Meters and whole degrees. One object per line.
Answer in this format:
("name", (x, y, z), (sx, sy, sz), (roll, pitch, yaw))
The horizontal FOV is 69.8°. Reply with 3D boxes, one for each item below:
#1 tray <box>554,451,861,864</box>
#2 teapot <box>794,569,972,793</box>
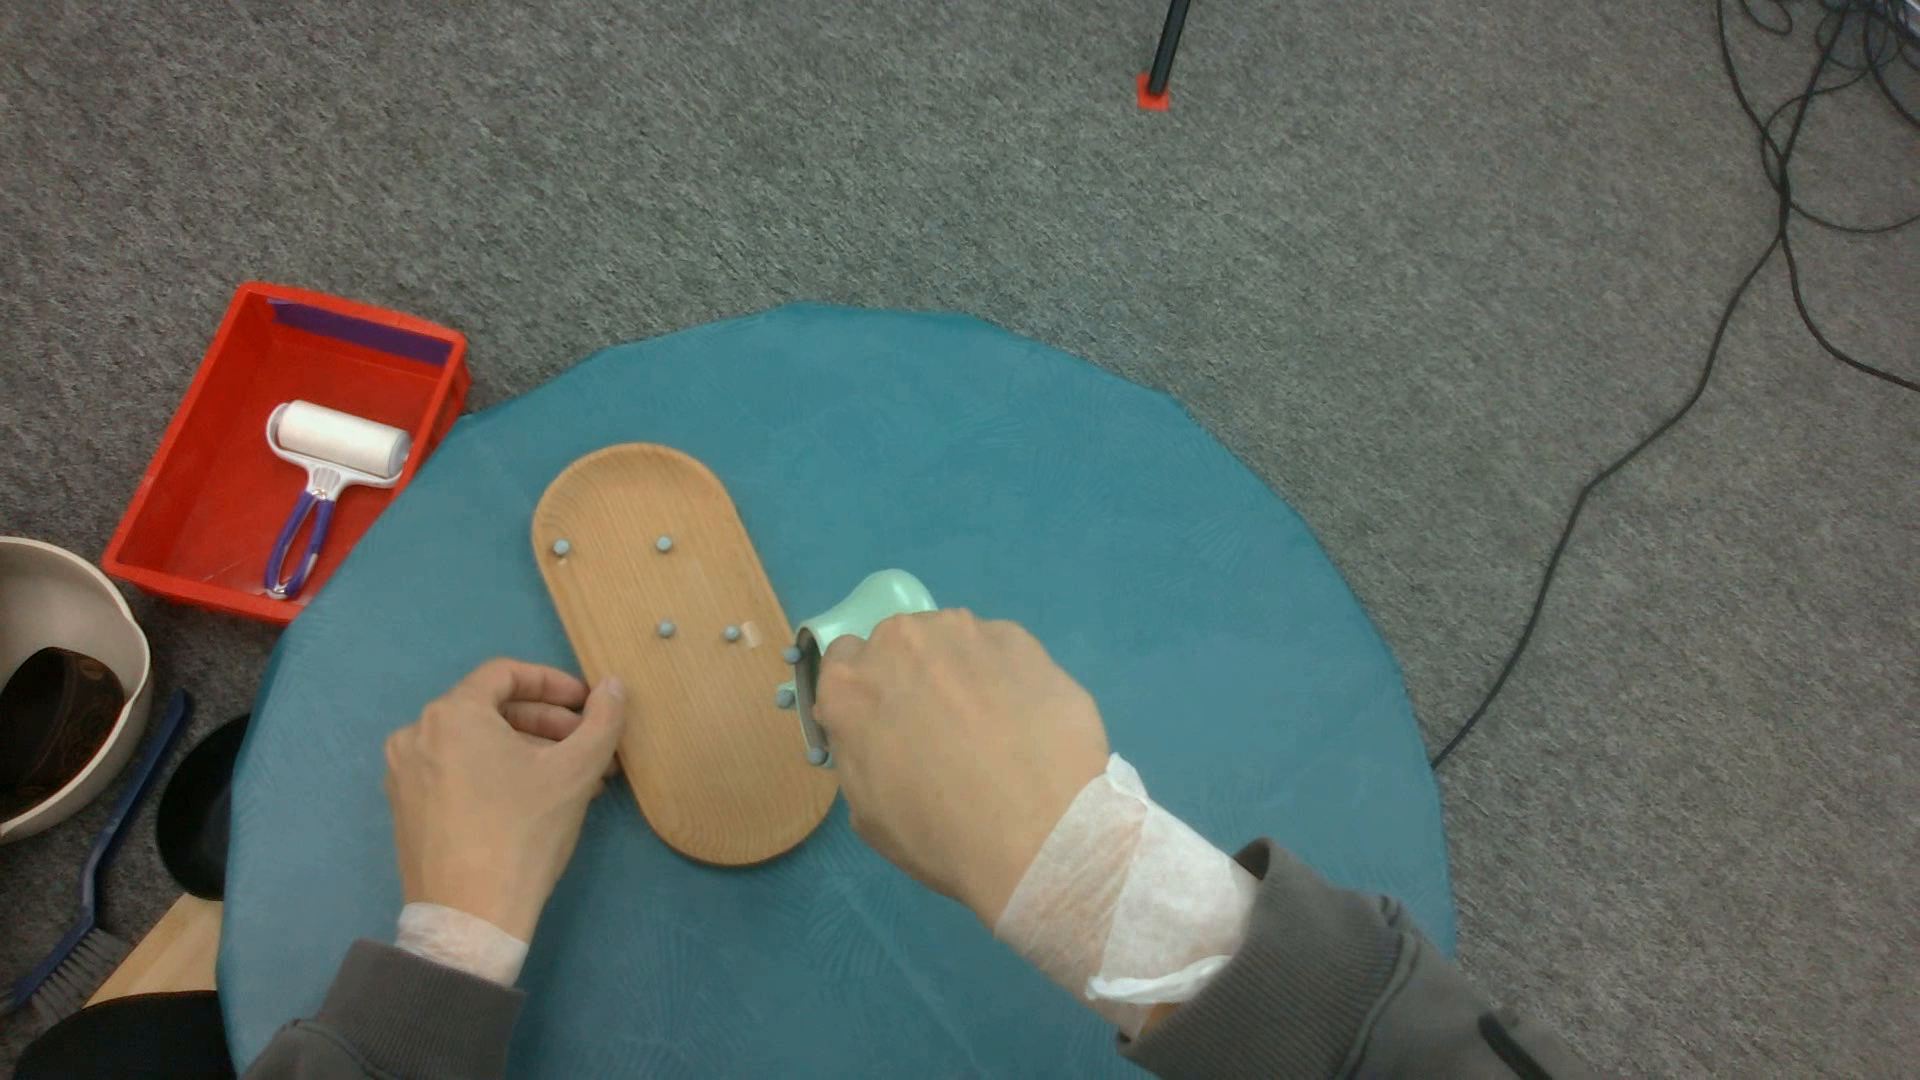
("tray", (-0.131, 0.056, 0.705), (0.102, 0.020, 0.231), (-23, 73, -18))
("teapot", (-0.030, 0.061, 0.588), (0.061, 0.136, 0.096), (-6, 83, -18))
